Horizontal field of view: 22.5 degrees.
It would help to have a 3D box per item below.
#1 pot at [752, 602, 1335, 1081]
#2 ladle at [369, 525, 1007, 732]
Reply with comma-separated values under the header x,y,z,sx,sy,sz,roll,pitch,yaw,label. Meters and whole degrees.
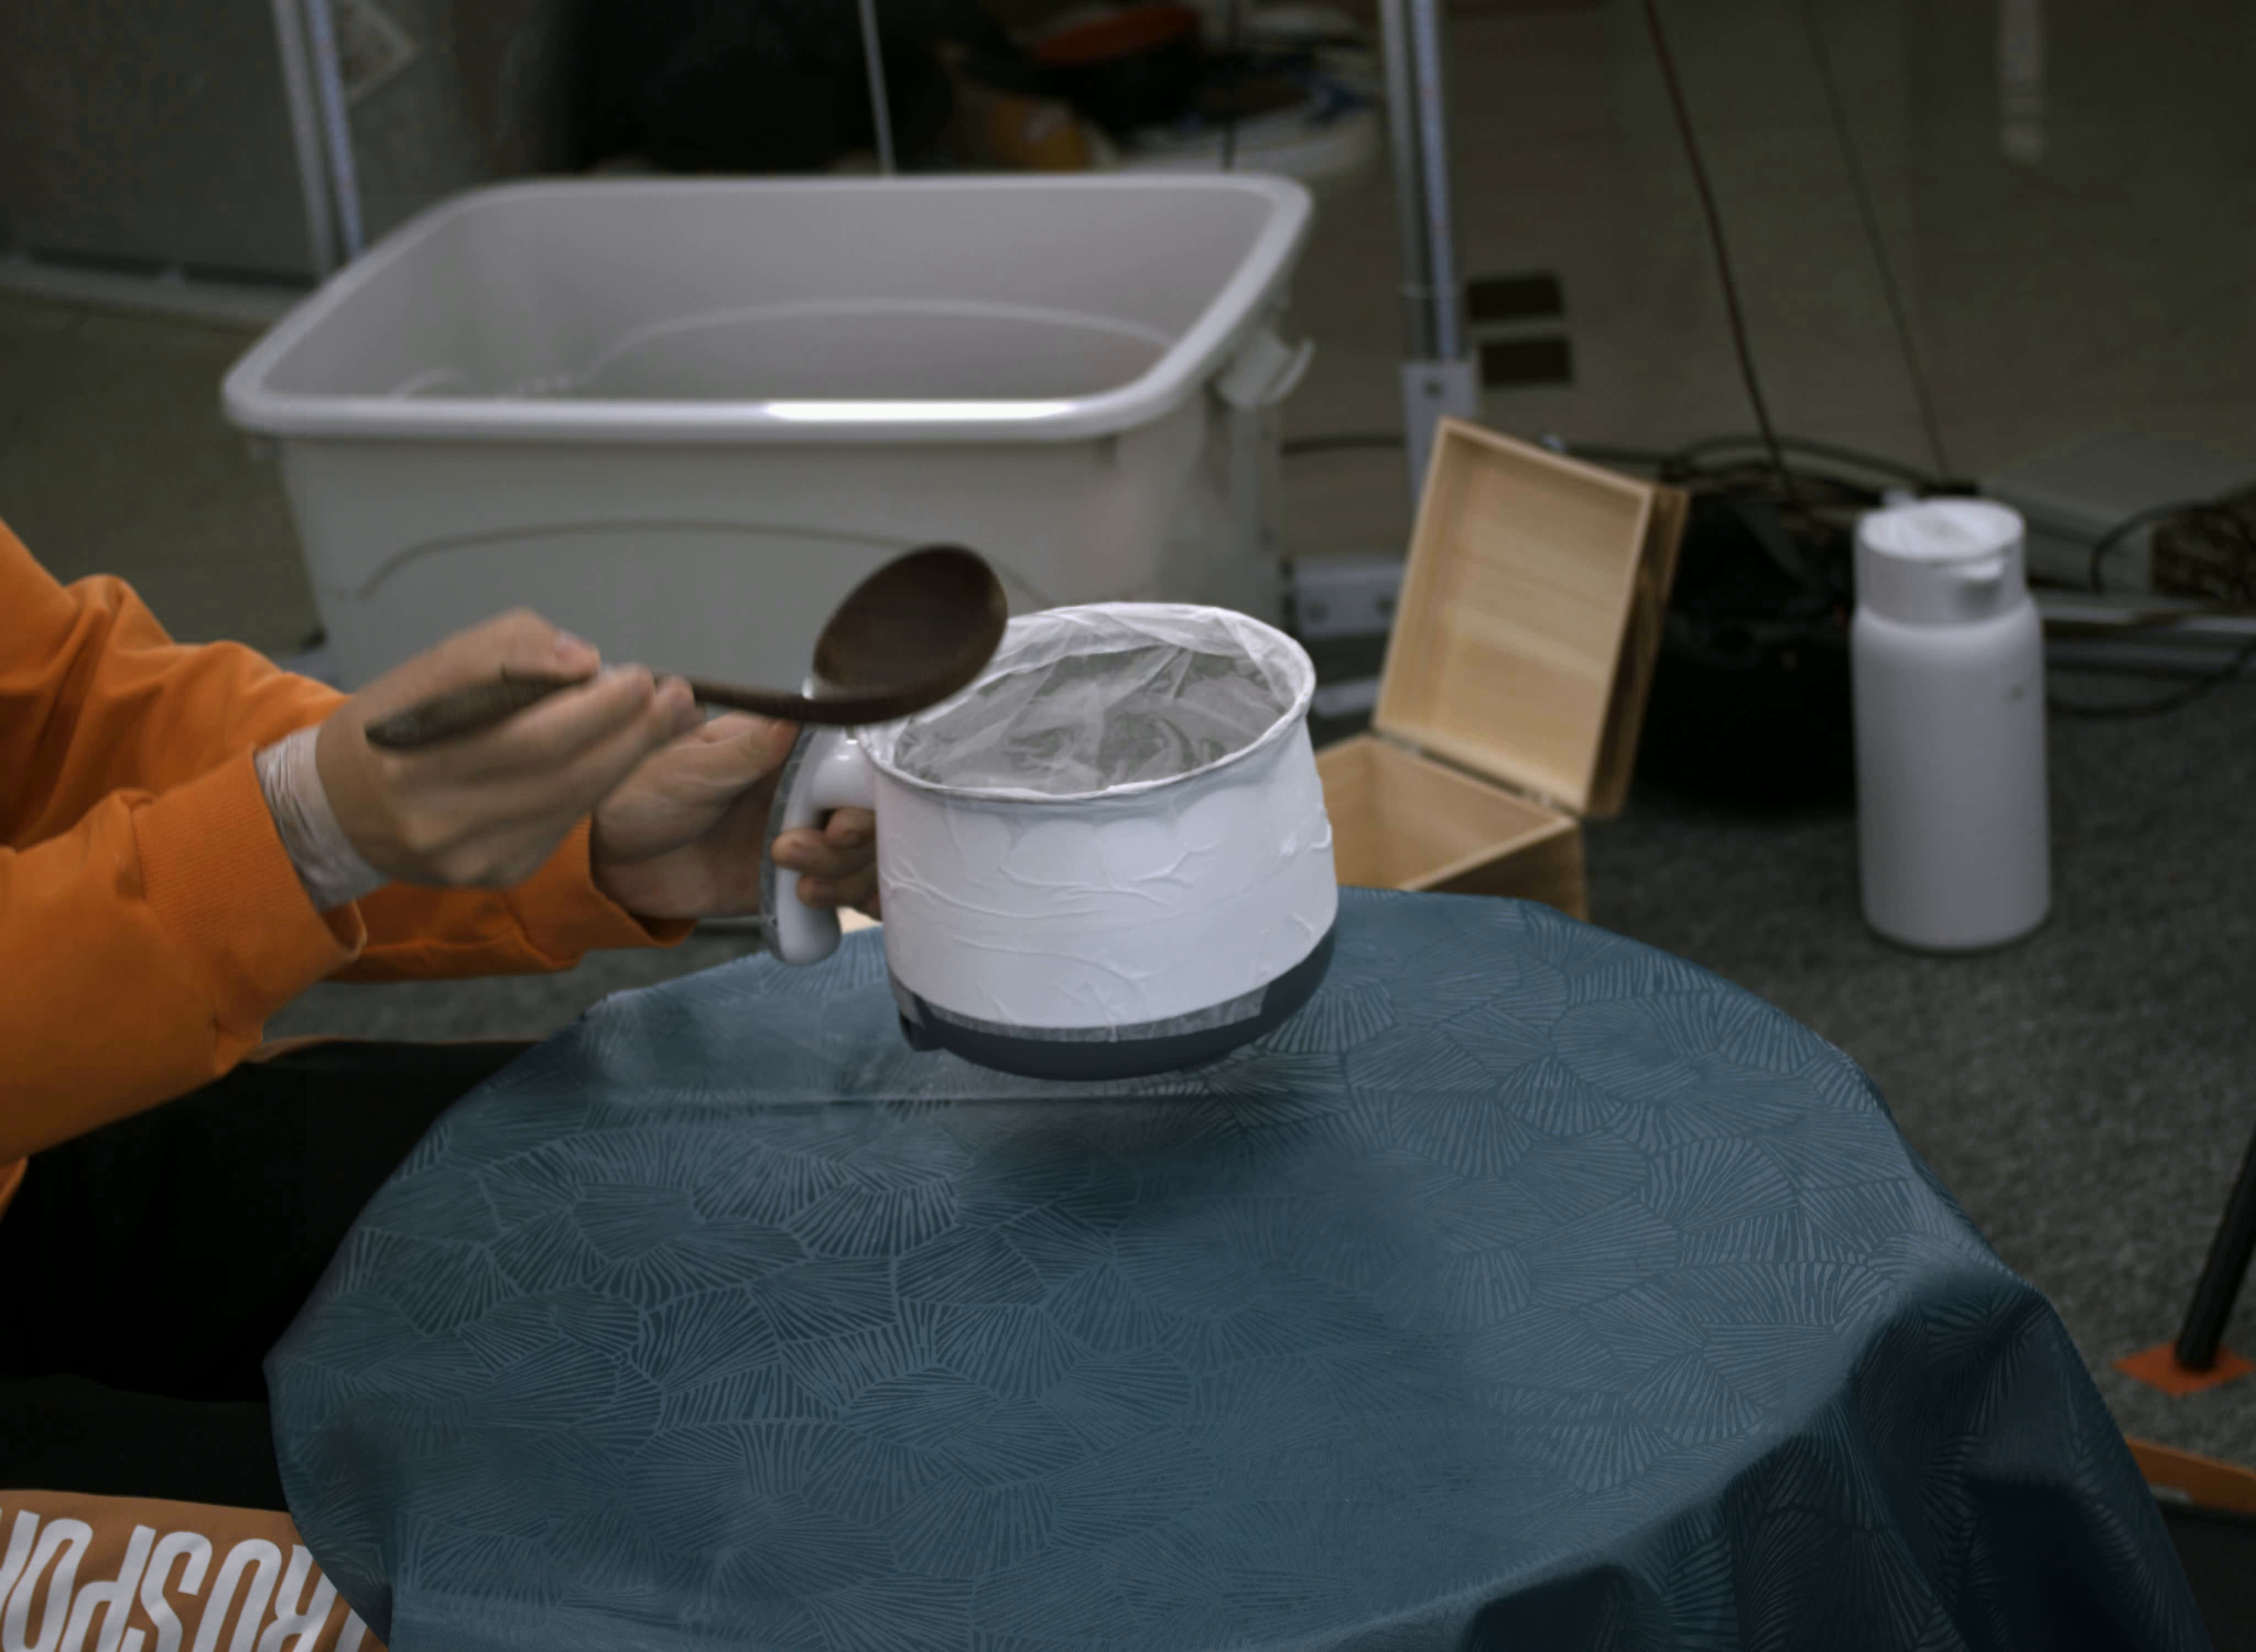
x,y,z,sx,sy,sz,roll,pitch,yaw,label
-0.037,0.007,2.185,0.233,0.139,0.176,1,27,16,pot
-0.152,-0.071,1.976,0.075,0.072,0.274,10,9,42,ladle
